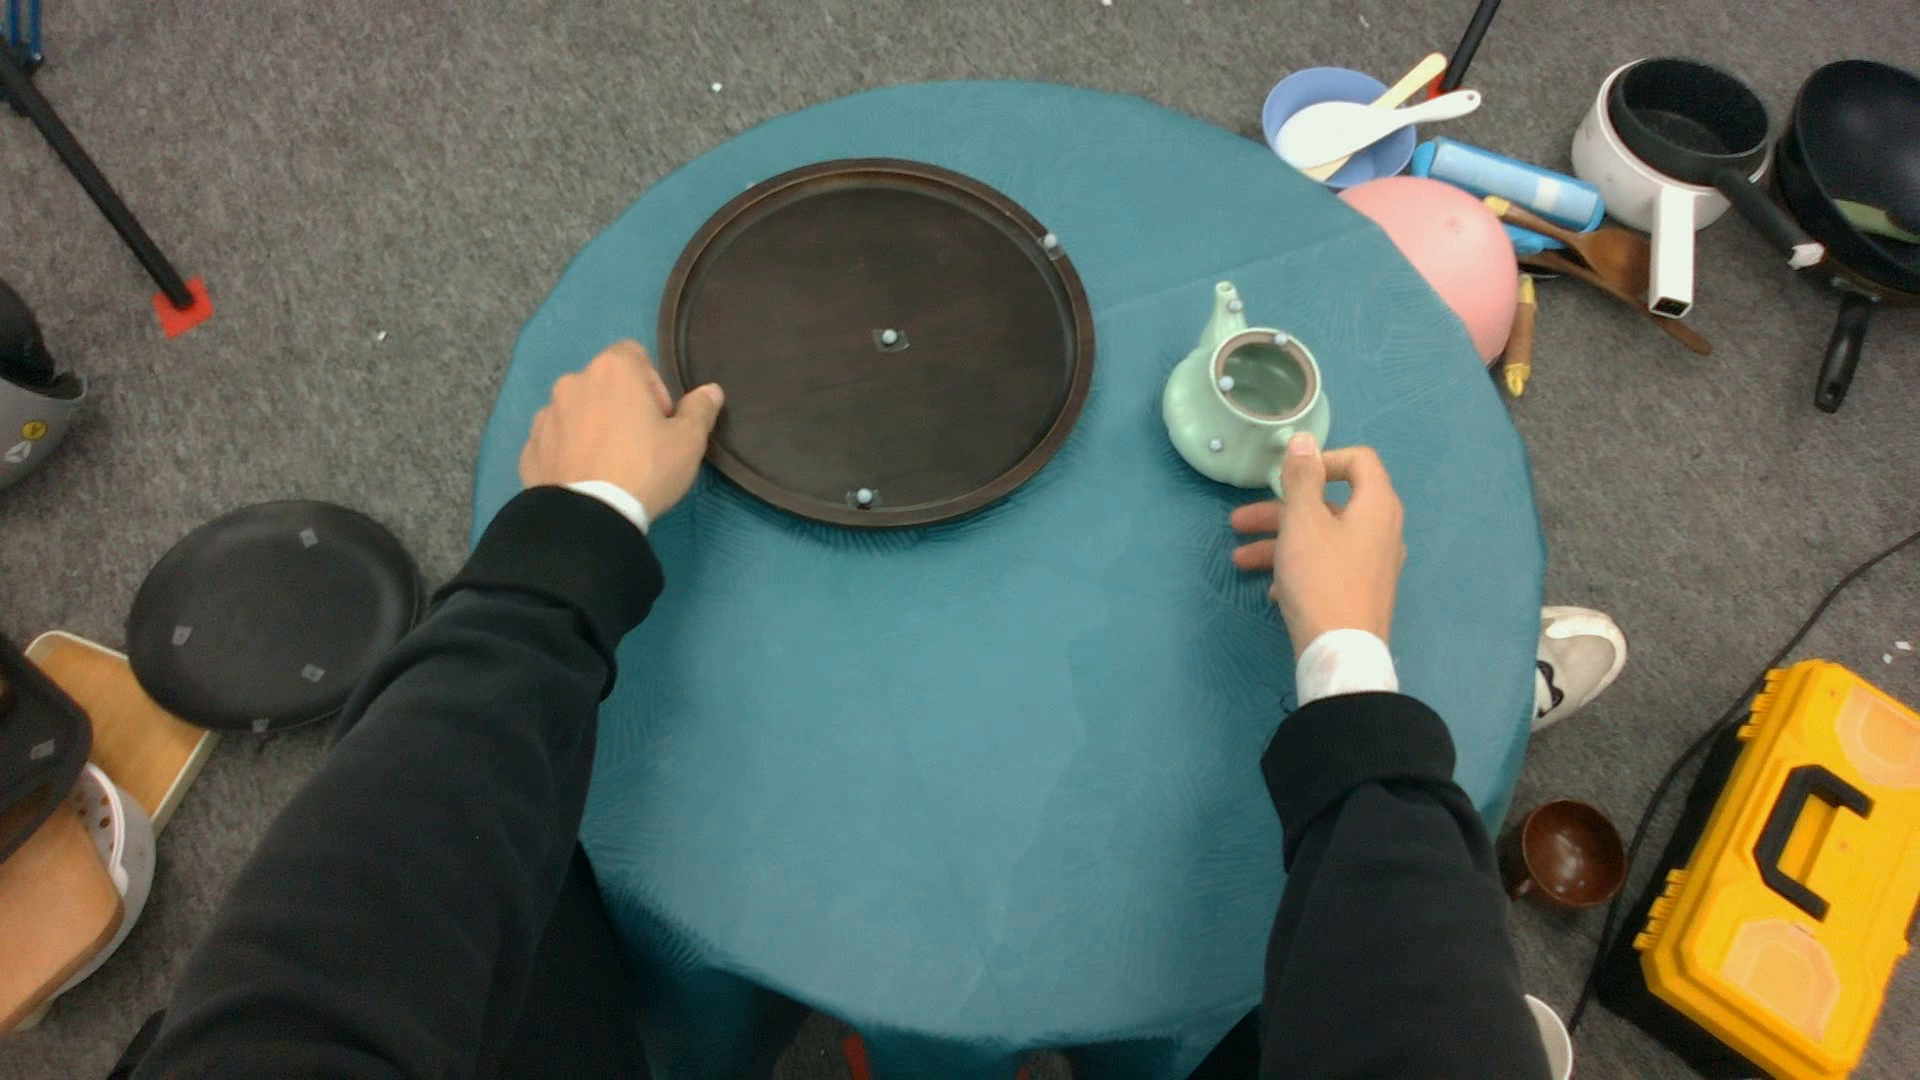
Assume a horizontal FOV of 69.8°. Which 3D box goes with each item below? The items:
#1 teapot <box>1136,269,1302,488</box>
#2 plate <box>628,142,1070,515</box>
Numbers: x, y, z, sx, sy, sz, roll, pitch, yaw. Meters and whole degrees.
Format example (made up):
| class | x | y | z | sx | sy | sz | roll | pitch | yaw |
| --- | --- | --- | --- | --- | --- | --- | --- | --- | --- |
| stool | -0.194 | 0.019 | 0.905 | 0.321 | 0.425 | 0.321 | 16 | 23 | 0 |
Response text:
| class | x | y | z | sx | sy | sz | roll | pitch | yaw |
| --- | --- | --- | --- | --- | --- | --- | --- | --- | --- |
| teapot | 0.152 | -0.084 | 0.781 | 0.096 | 0.061 | 0.137 | -16 | 66 | -15 |
| plate | -0.062 | -0.126 | 0.797 | 0.255 | 0.029 | 0.256 | 3 | 63 | -6 |
